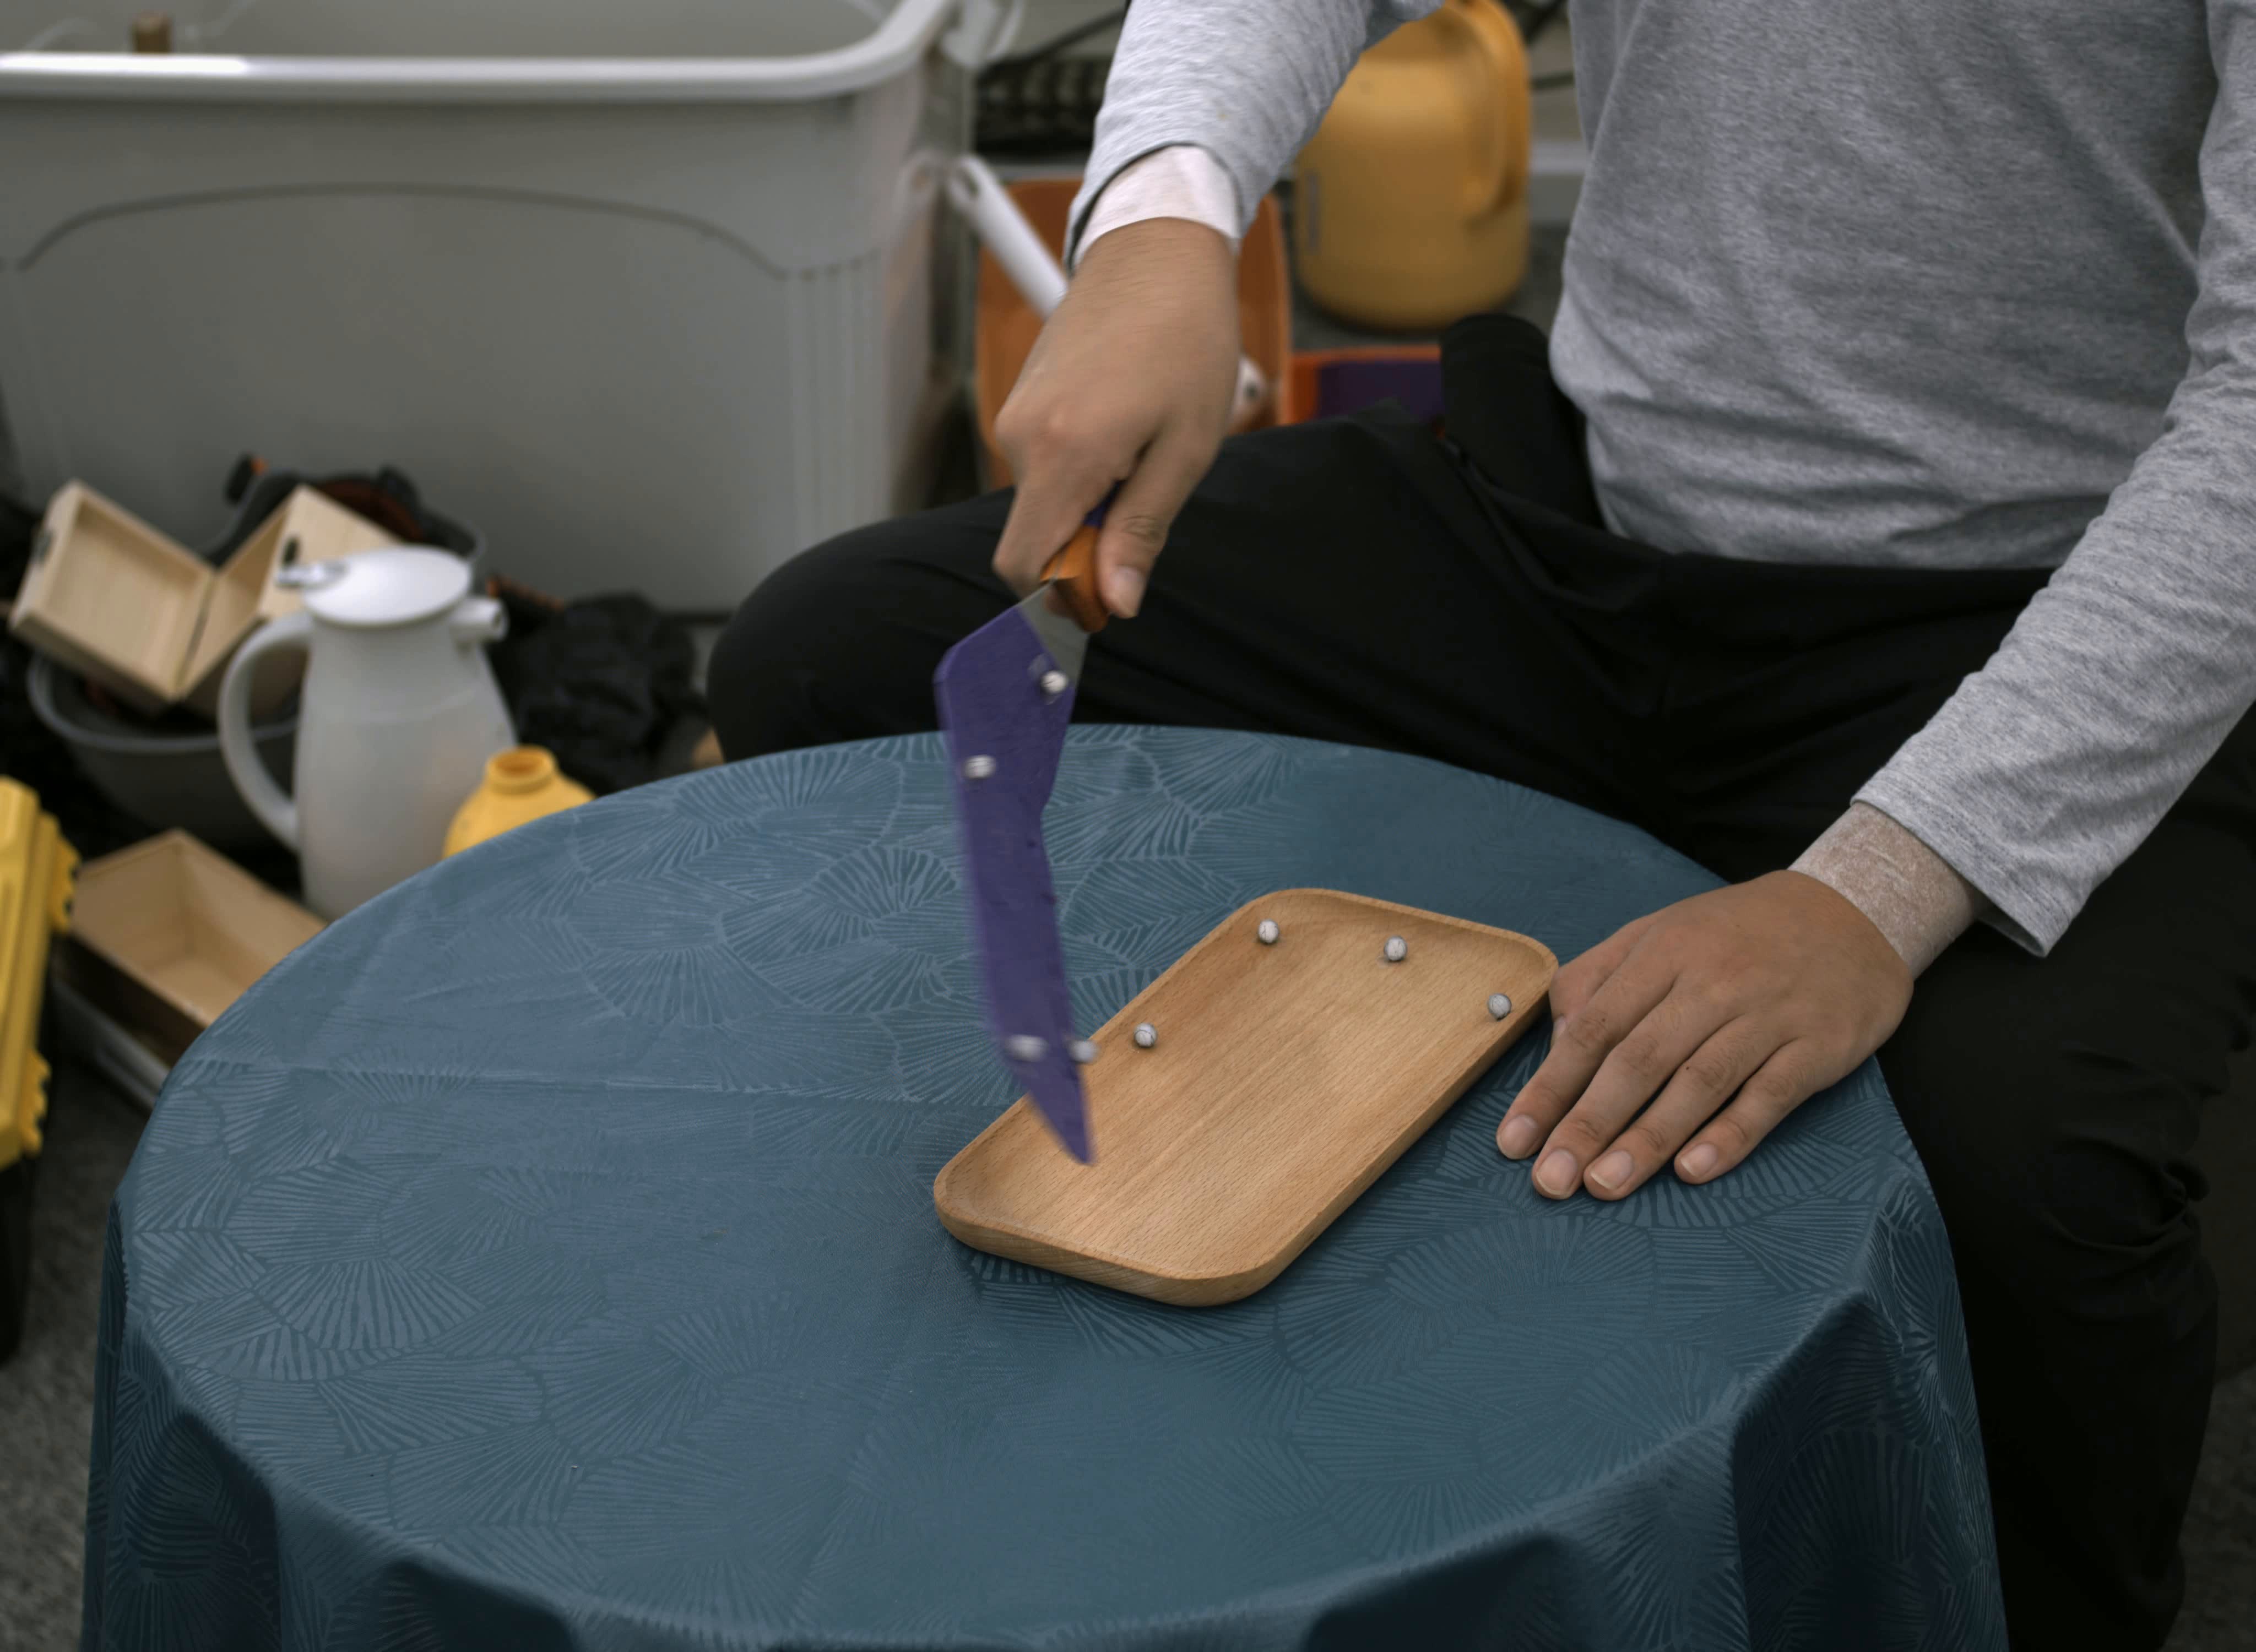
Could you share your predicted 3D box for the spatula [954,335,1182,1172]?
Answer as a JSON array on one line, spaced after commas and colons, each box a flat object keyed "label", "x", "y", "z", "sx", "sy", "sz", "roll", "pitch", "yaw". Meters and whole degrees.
[{"label": "spatula", "x": -0.005, "y": -0.036, "z": 1.888, "sx": 0.086, "sy": 0.074, "sz": 0.367, "roll": -5, "pitch": 45, "yaw": 27}]

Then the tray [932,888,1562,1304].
[{"label": "tray", "x": 0.044, "y": 0.089, "z": 1.905, "sx": 0.130, "sy": 0.022, "sz": 0.255, "roll": 10, "pitch": 31, "yaw": 30}]
